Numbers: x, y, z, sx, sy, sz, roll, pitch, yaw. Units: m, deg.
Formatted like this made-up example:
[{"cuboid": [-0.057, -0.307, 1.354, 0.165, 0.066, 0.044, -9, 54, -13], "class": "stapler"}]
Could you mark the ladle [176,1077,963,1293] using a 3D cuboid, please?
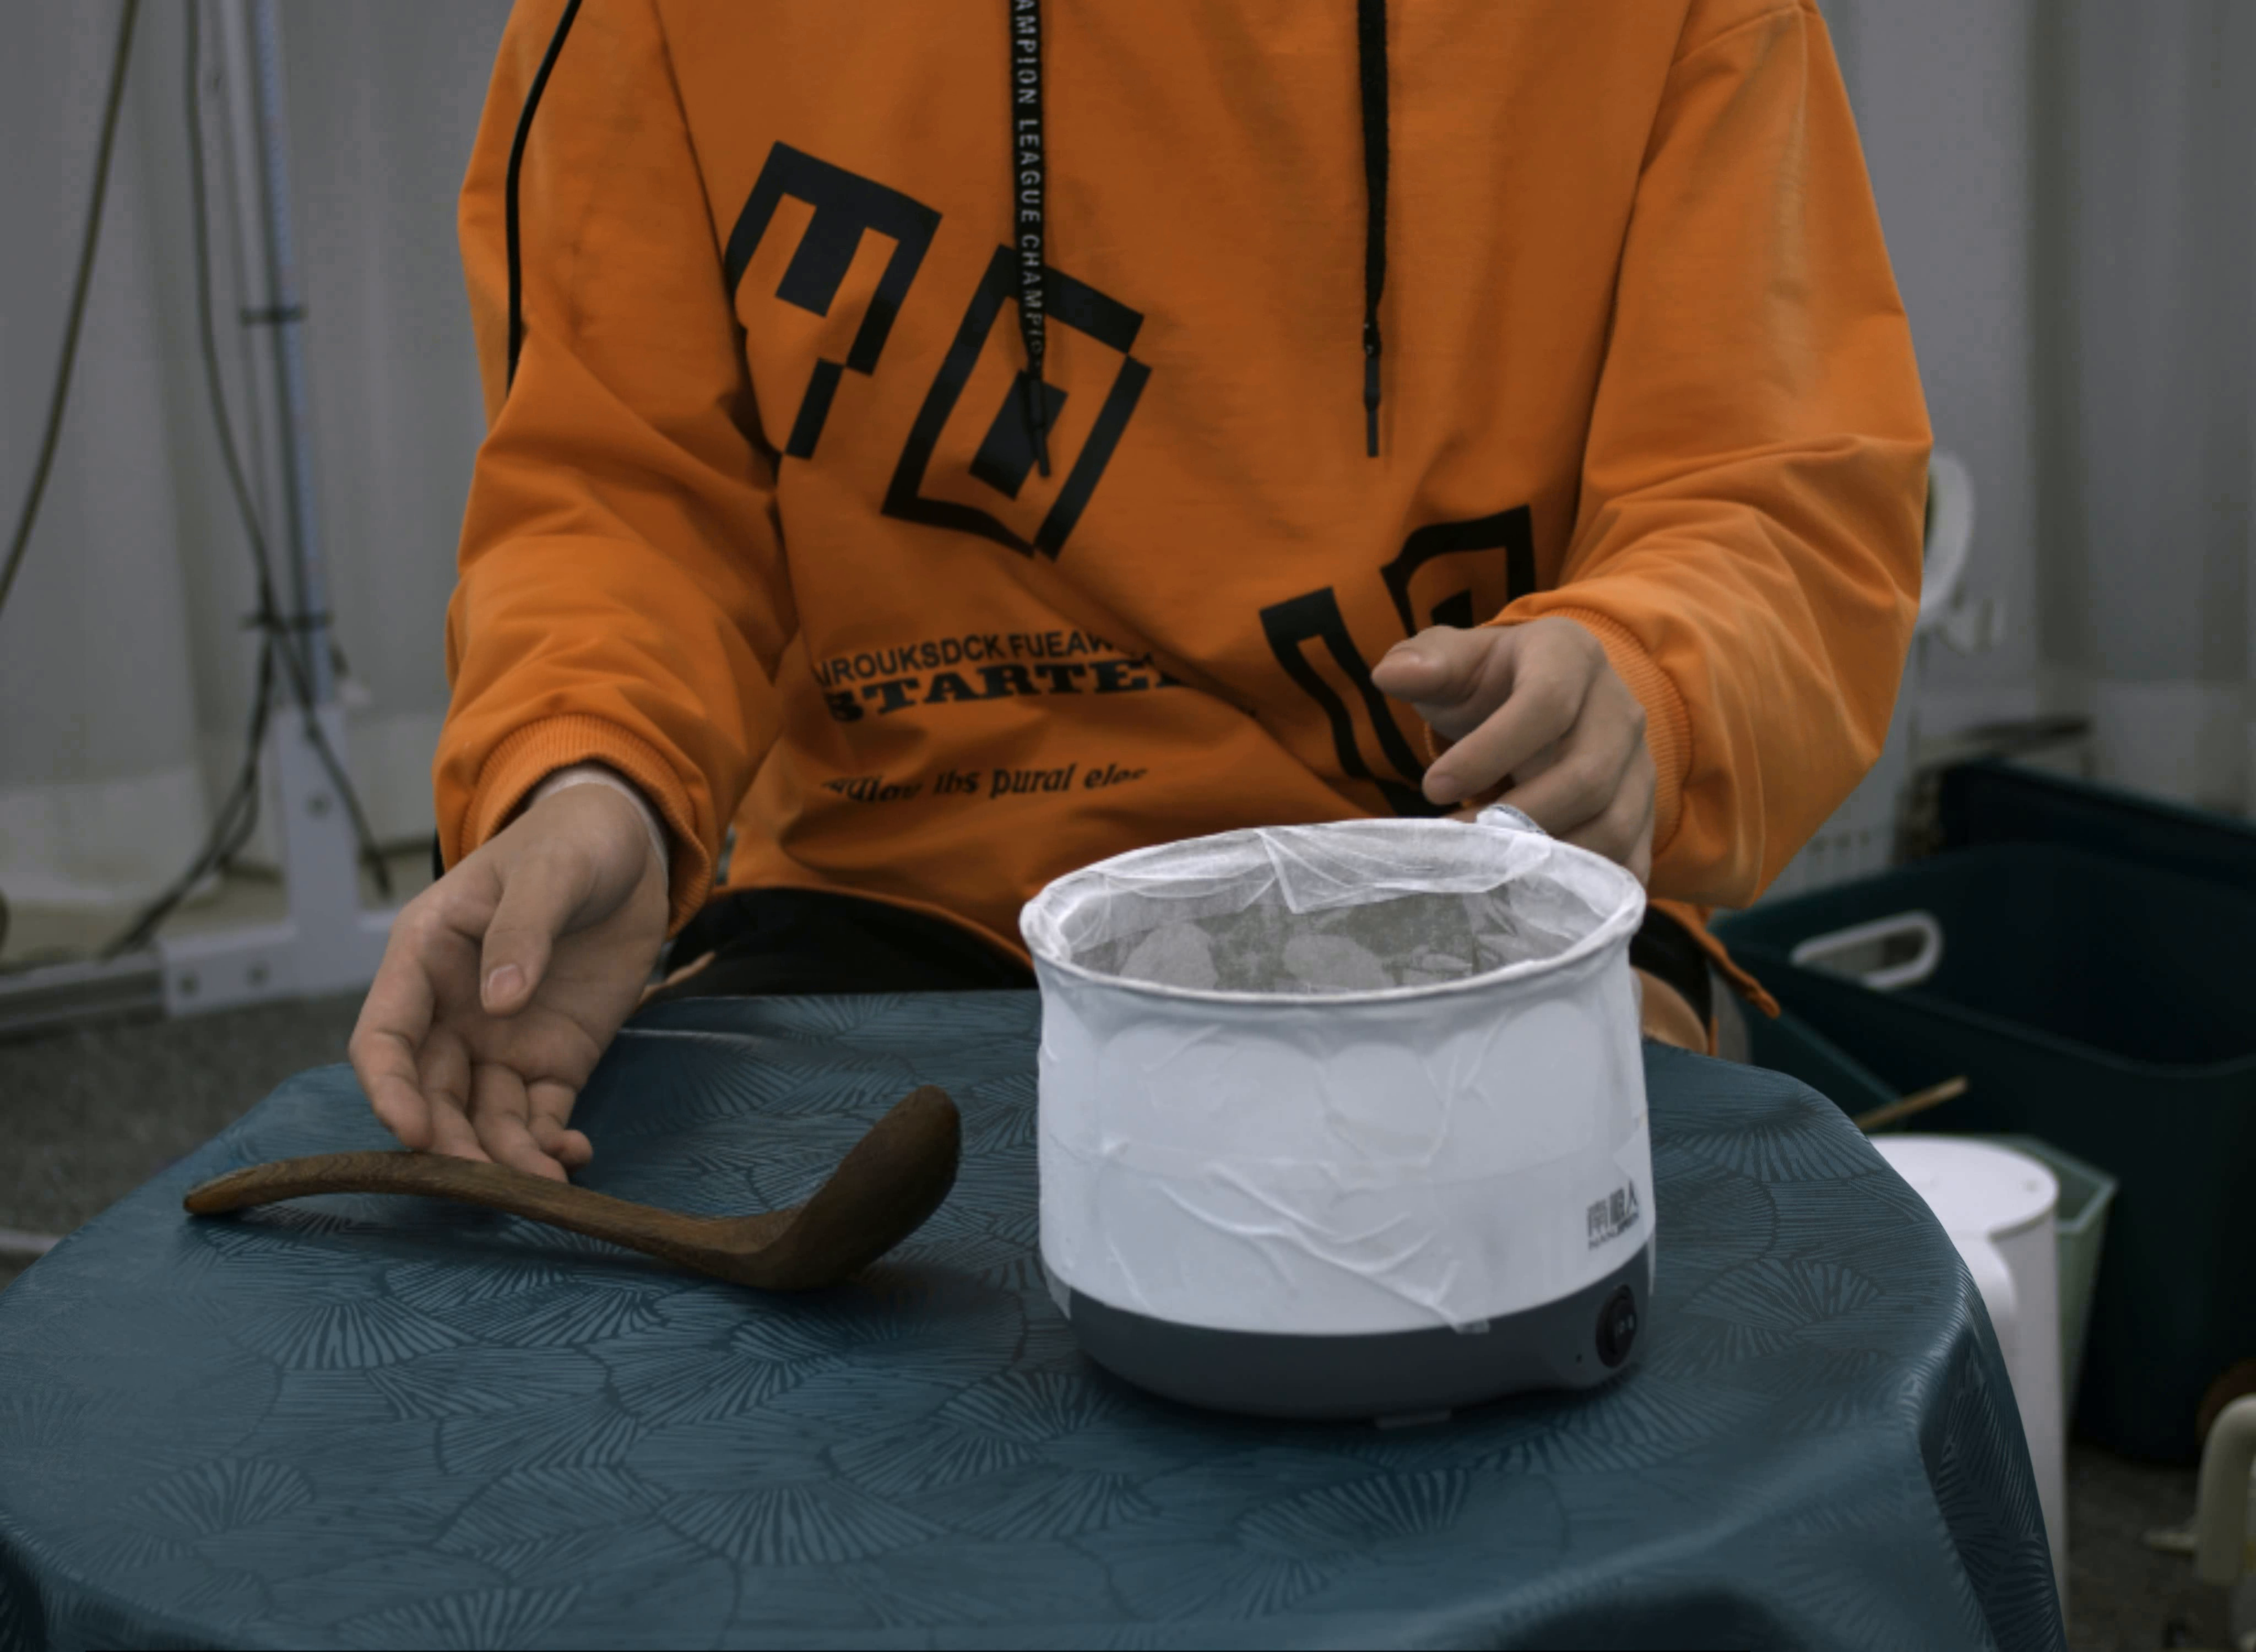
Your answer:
[{"cuboid": [-0.176, 0.099, 1.676, 0.274, 0.071, 0.076, 6, 14, 27], "class": "ladle"}]

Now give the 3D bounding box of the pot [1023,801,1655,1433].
[{"cuboid": [0.075, 0.076, 1.580, 0.179, 0.136, 0.234, 6, 18, 30], "class": "pot"}]
